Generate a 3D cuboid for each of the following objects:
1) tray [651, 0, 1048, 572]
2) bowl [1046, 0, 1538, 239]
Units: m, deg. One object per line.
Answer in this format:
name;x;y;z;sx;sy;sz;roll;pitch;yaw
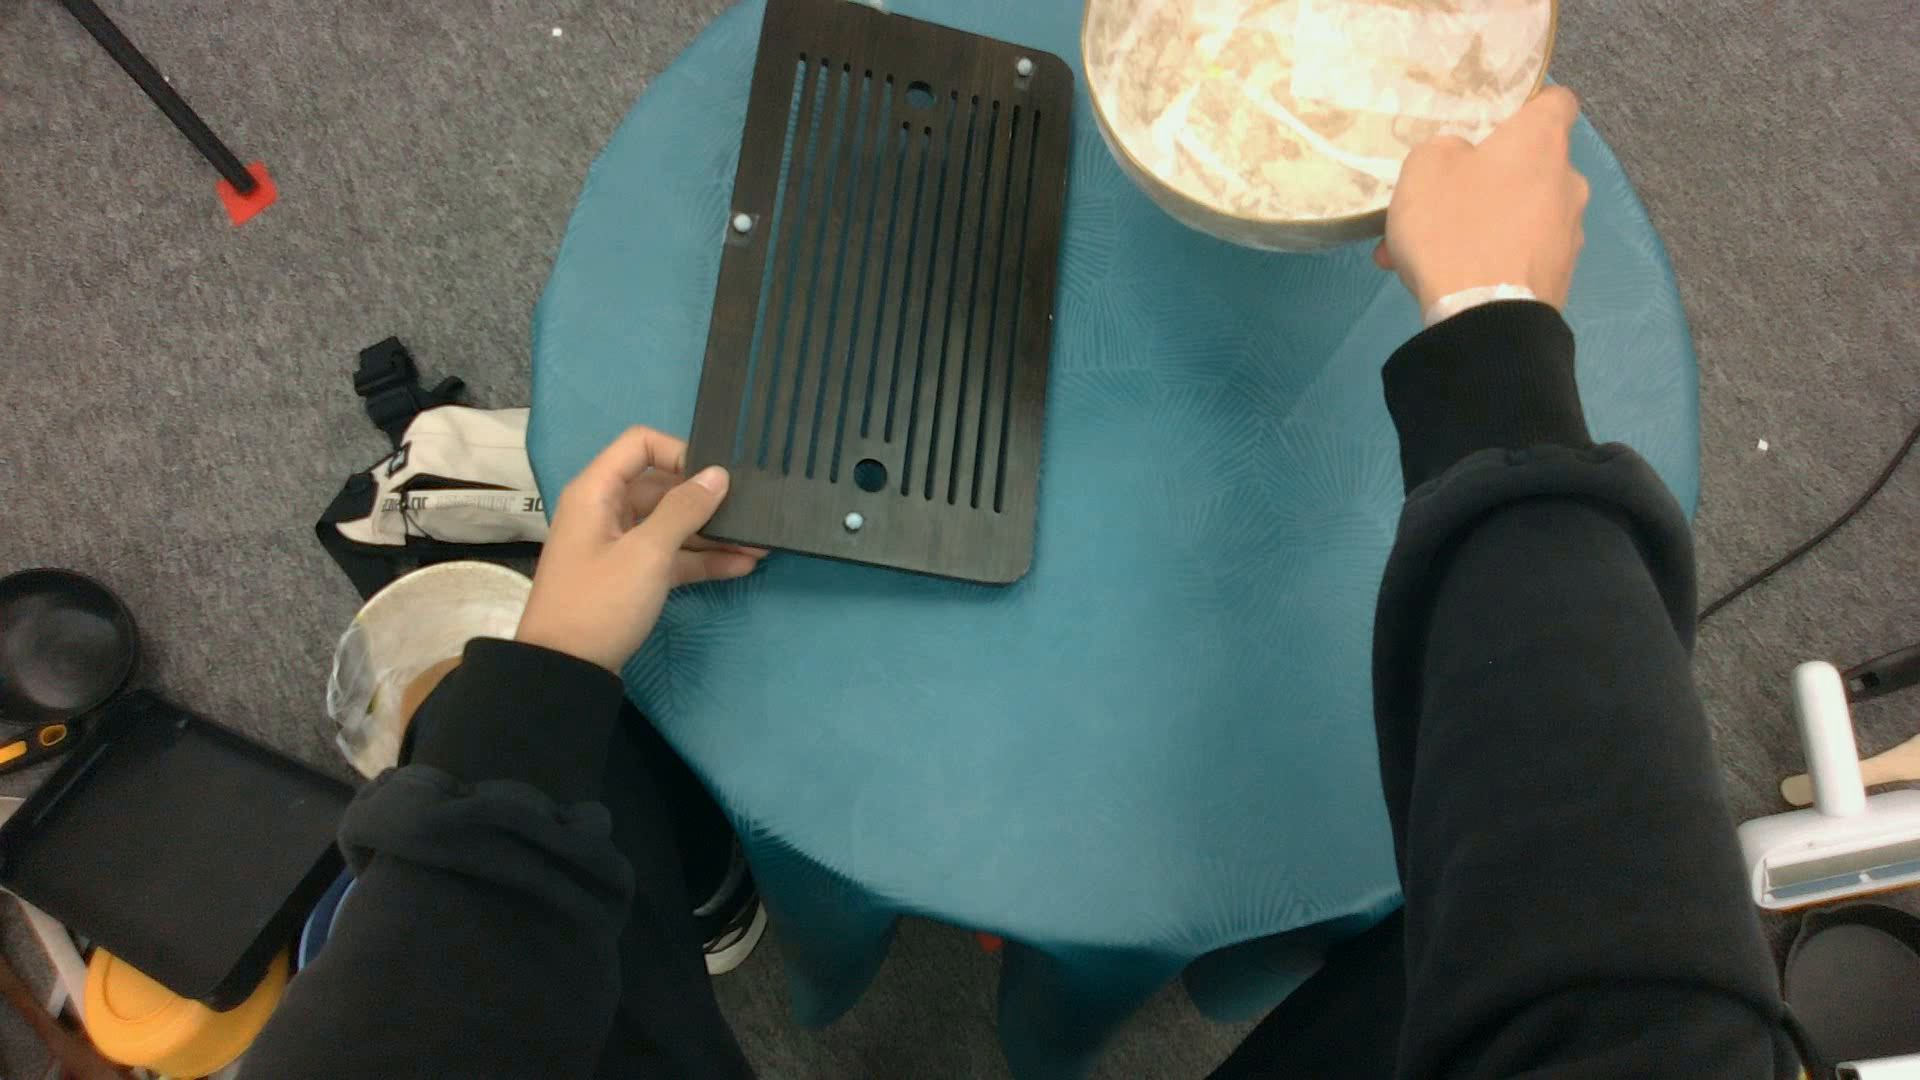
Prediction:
tray;-0.048;-0.139;0.698;0.170;0.018;0.307;10;71;-12
bowl;0.145;-0.220;0.637;0.214;0.094;0.215;-2;75;7
